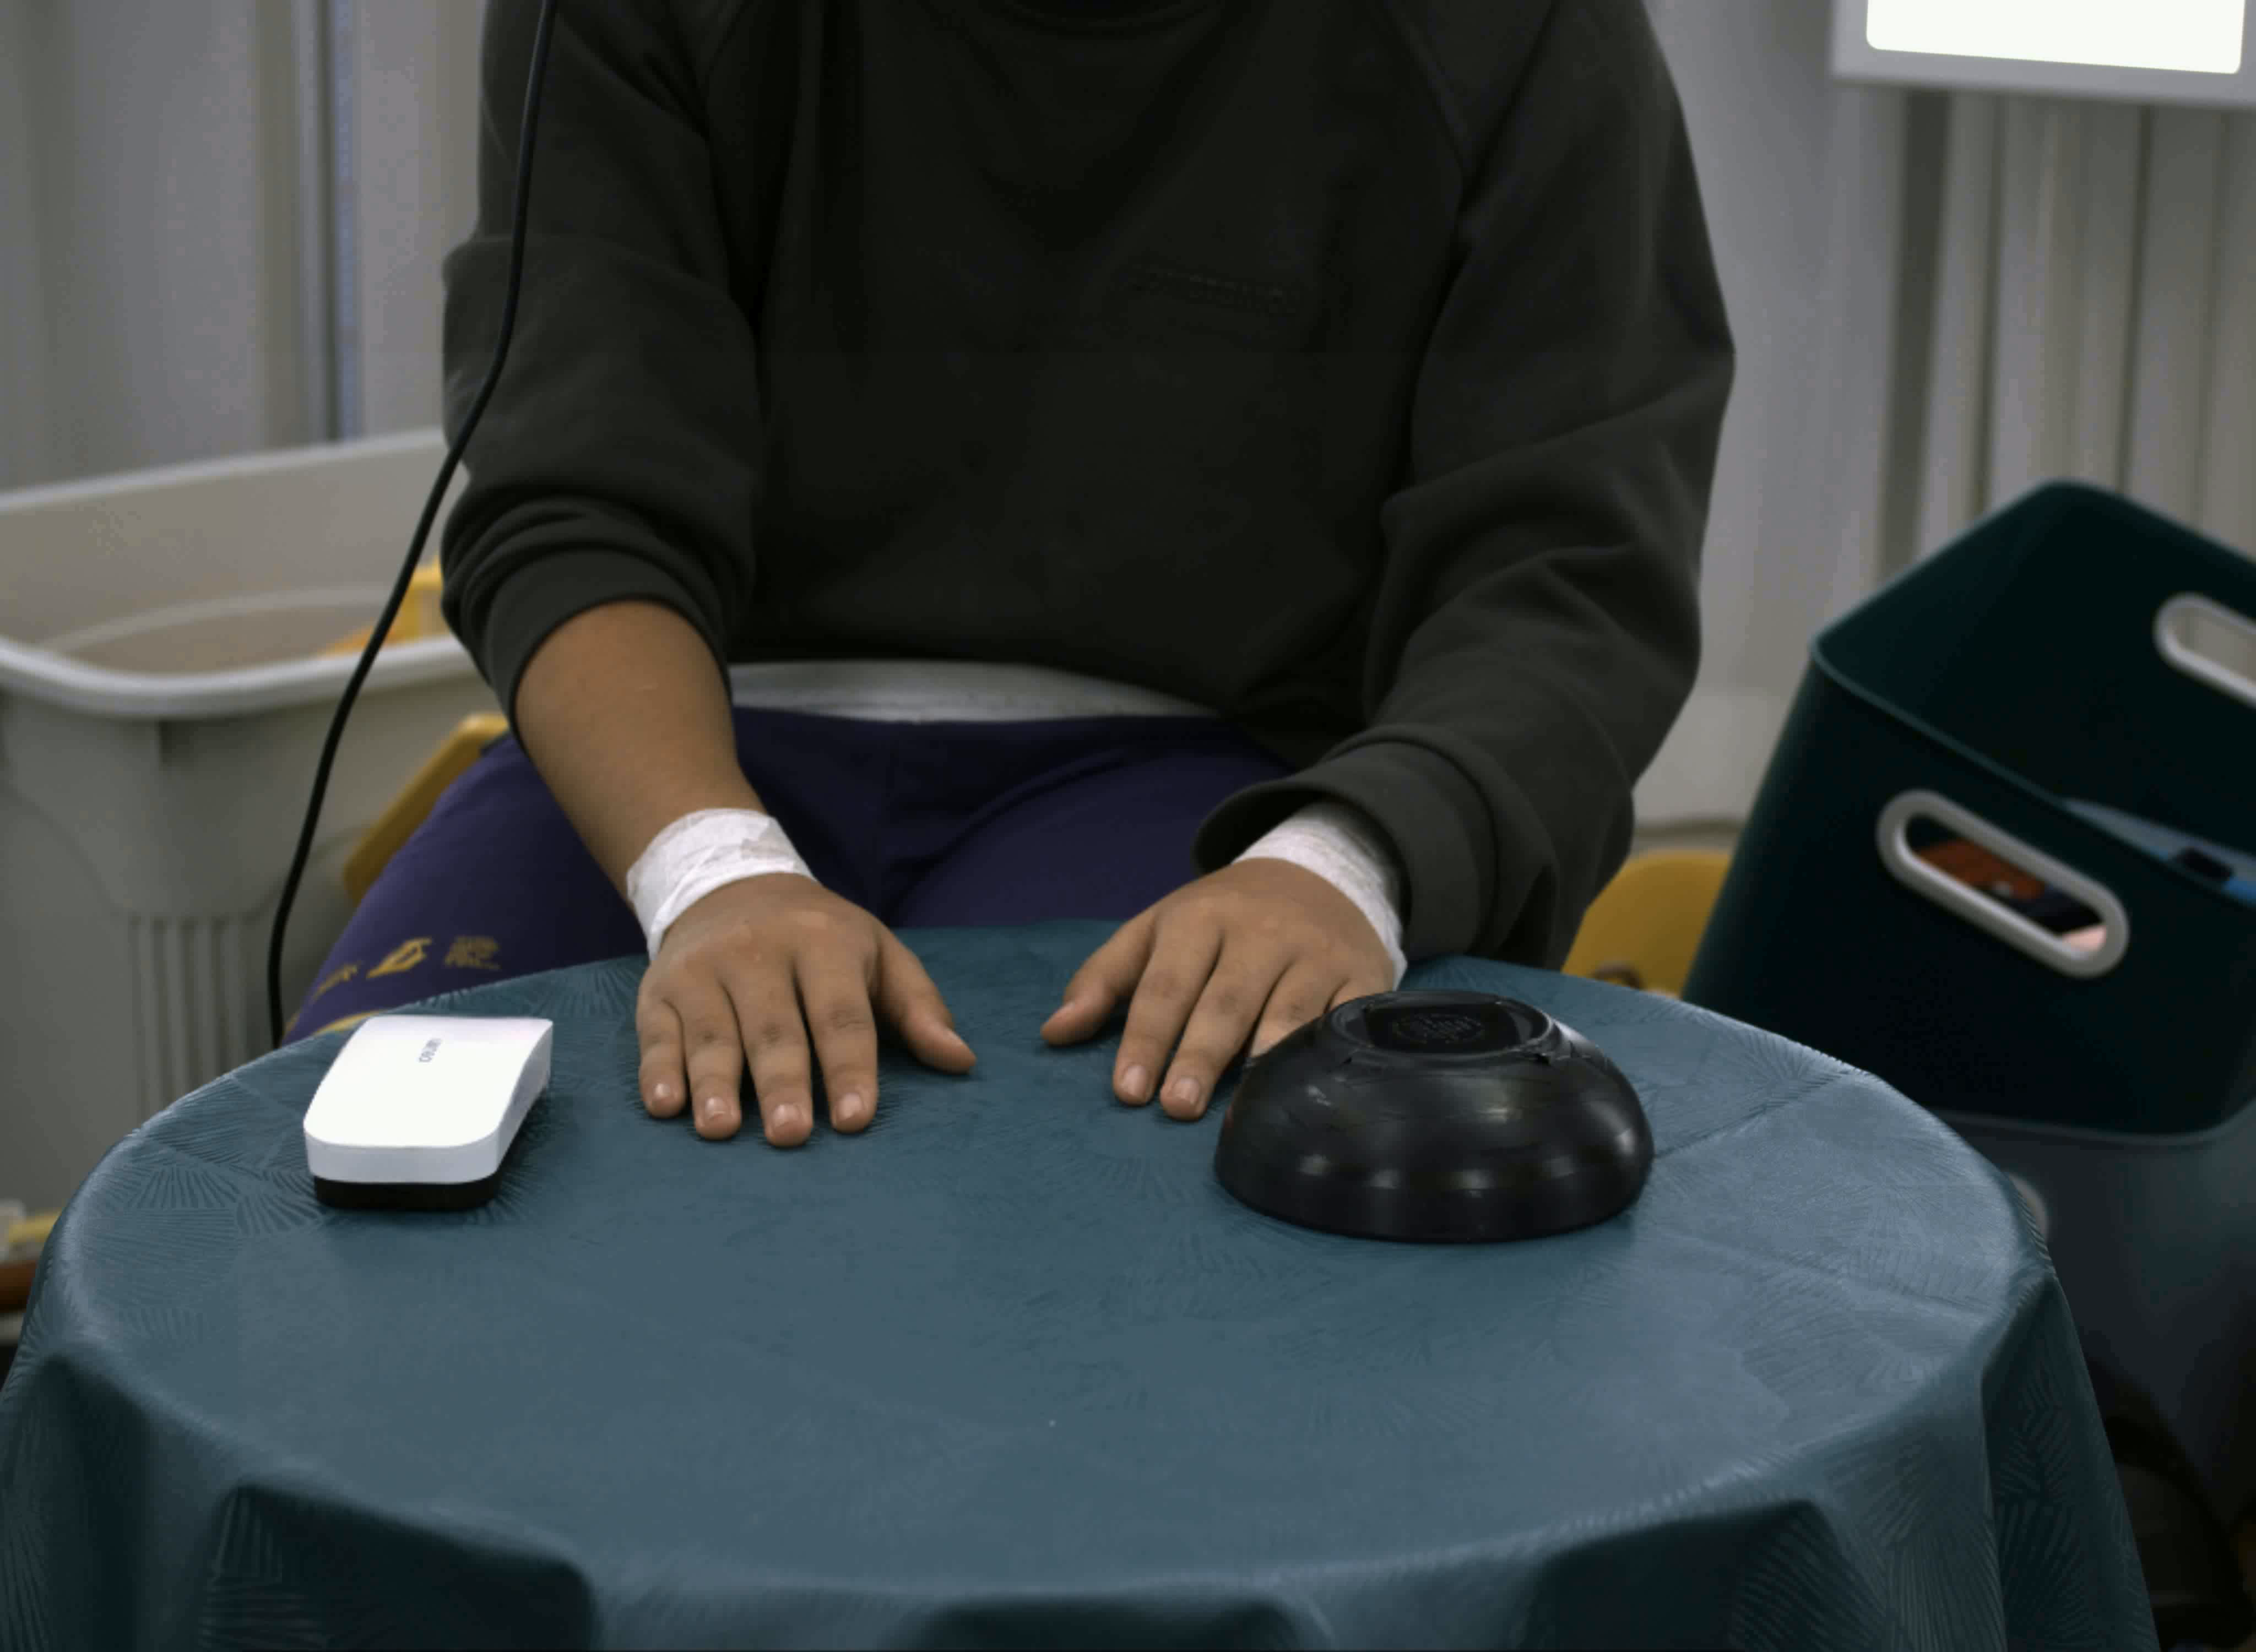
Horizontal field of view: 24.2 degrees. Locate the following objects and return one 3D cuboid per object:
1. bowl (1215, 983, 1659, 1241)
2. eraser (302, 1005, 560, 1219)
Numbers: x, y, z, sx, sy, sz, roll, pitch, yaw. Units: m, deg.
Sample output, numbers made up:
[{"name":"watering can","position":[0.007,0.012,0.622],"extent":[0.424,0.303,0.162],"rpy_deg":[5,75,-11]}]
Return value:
[{"name":"bowl","position":[0.096,0.082,1.636],"extent":[0.139,0.050,0.139],"rpy_deg":[0,17,1]},{"name":"eraser","position":[-0.216,0.085,1.653],"extent":[0.063,0.035,0.131],"rpy_deg":[3,17,4]}]
